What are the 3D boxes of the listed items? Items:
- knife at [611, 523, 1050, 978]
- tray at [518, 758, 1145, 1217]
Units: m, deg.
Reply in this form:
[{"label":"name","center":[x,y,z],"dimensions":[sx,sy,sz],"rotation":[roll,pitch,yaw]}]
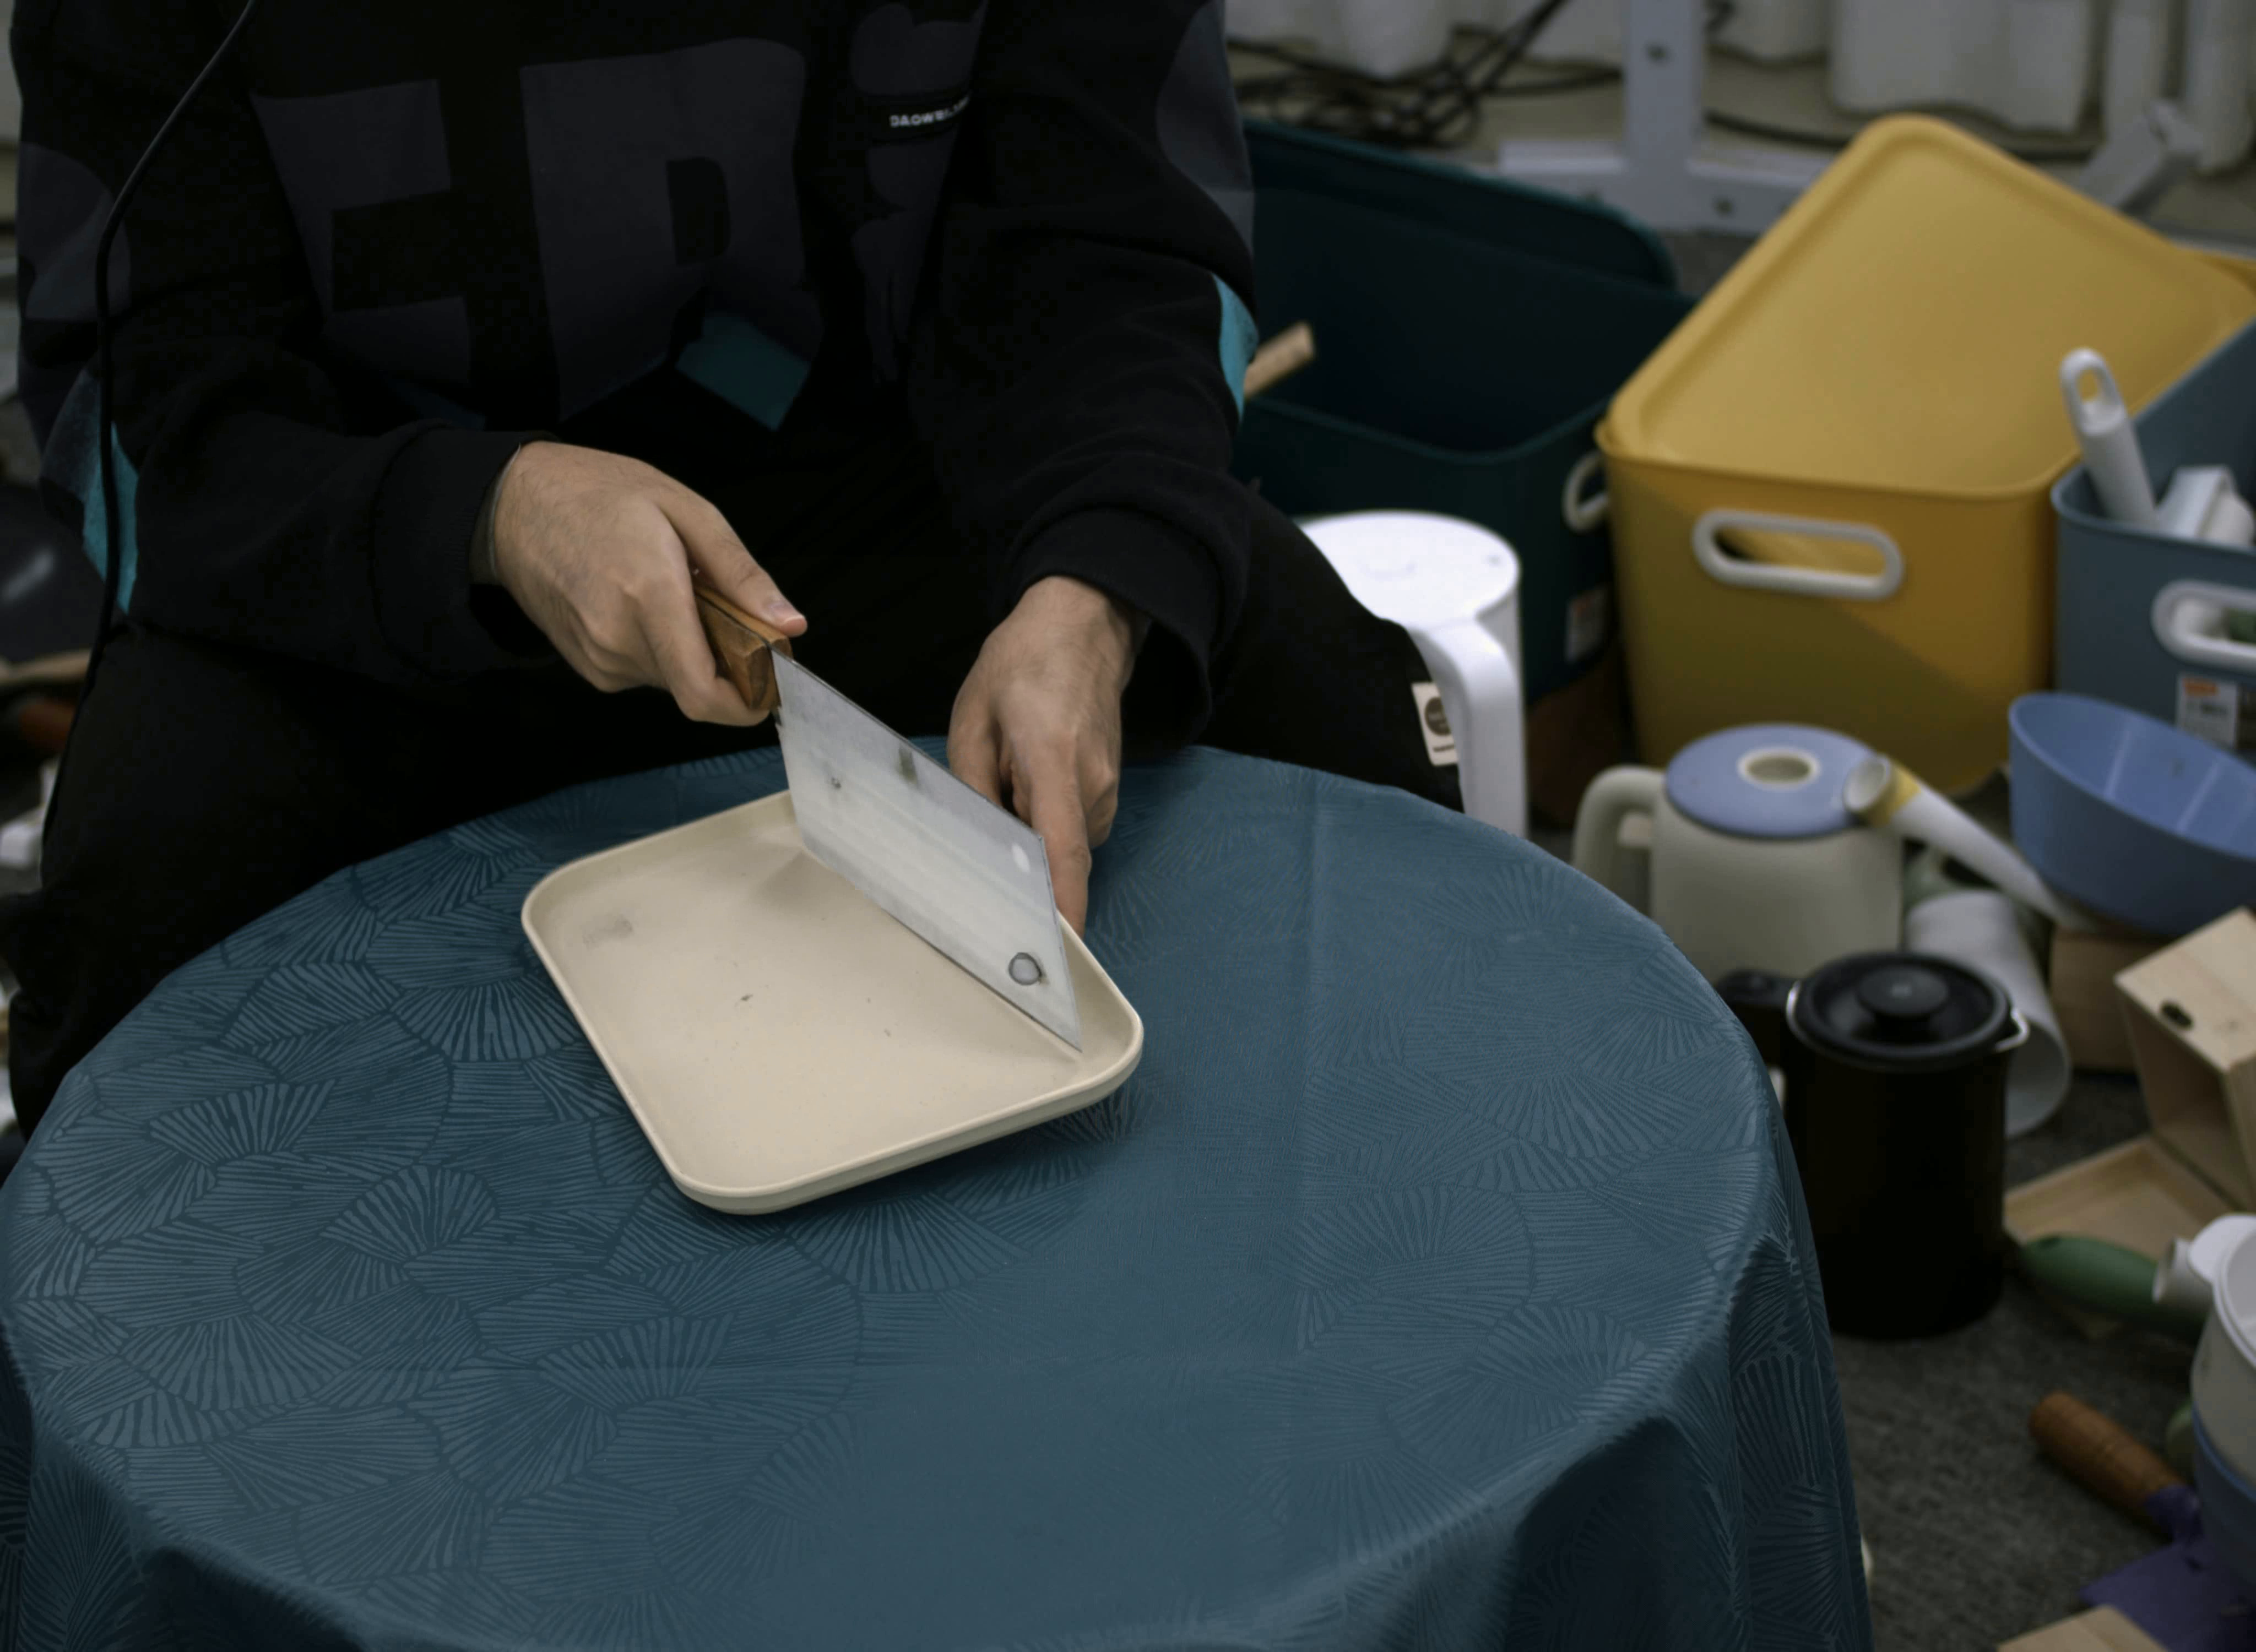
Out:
[{"label":"knife","center":[-0.105,-0.026,1.994],"dimensions":[0.021,0.092,0.307],"rotation":[-34,34,-12]},{"label":"tray","center":[-0.105,0.055,1.958],"dimensions":[0.172,0.017,0.242],"rotation":[-18,33,-15]}]
